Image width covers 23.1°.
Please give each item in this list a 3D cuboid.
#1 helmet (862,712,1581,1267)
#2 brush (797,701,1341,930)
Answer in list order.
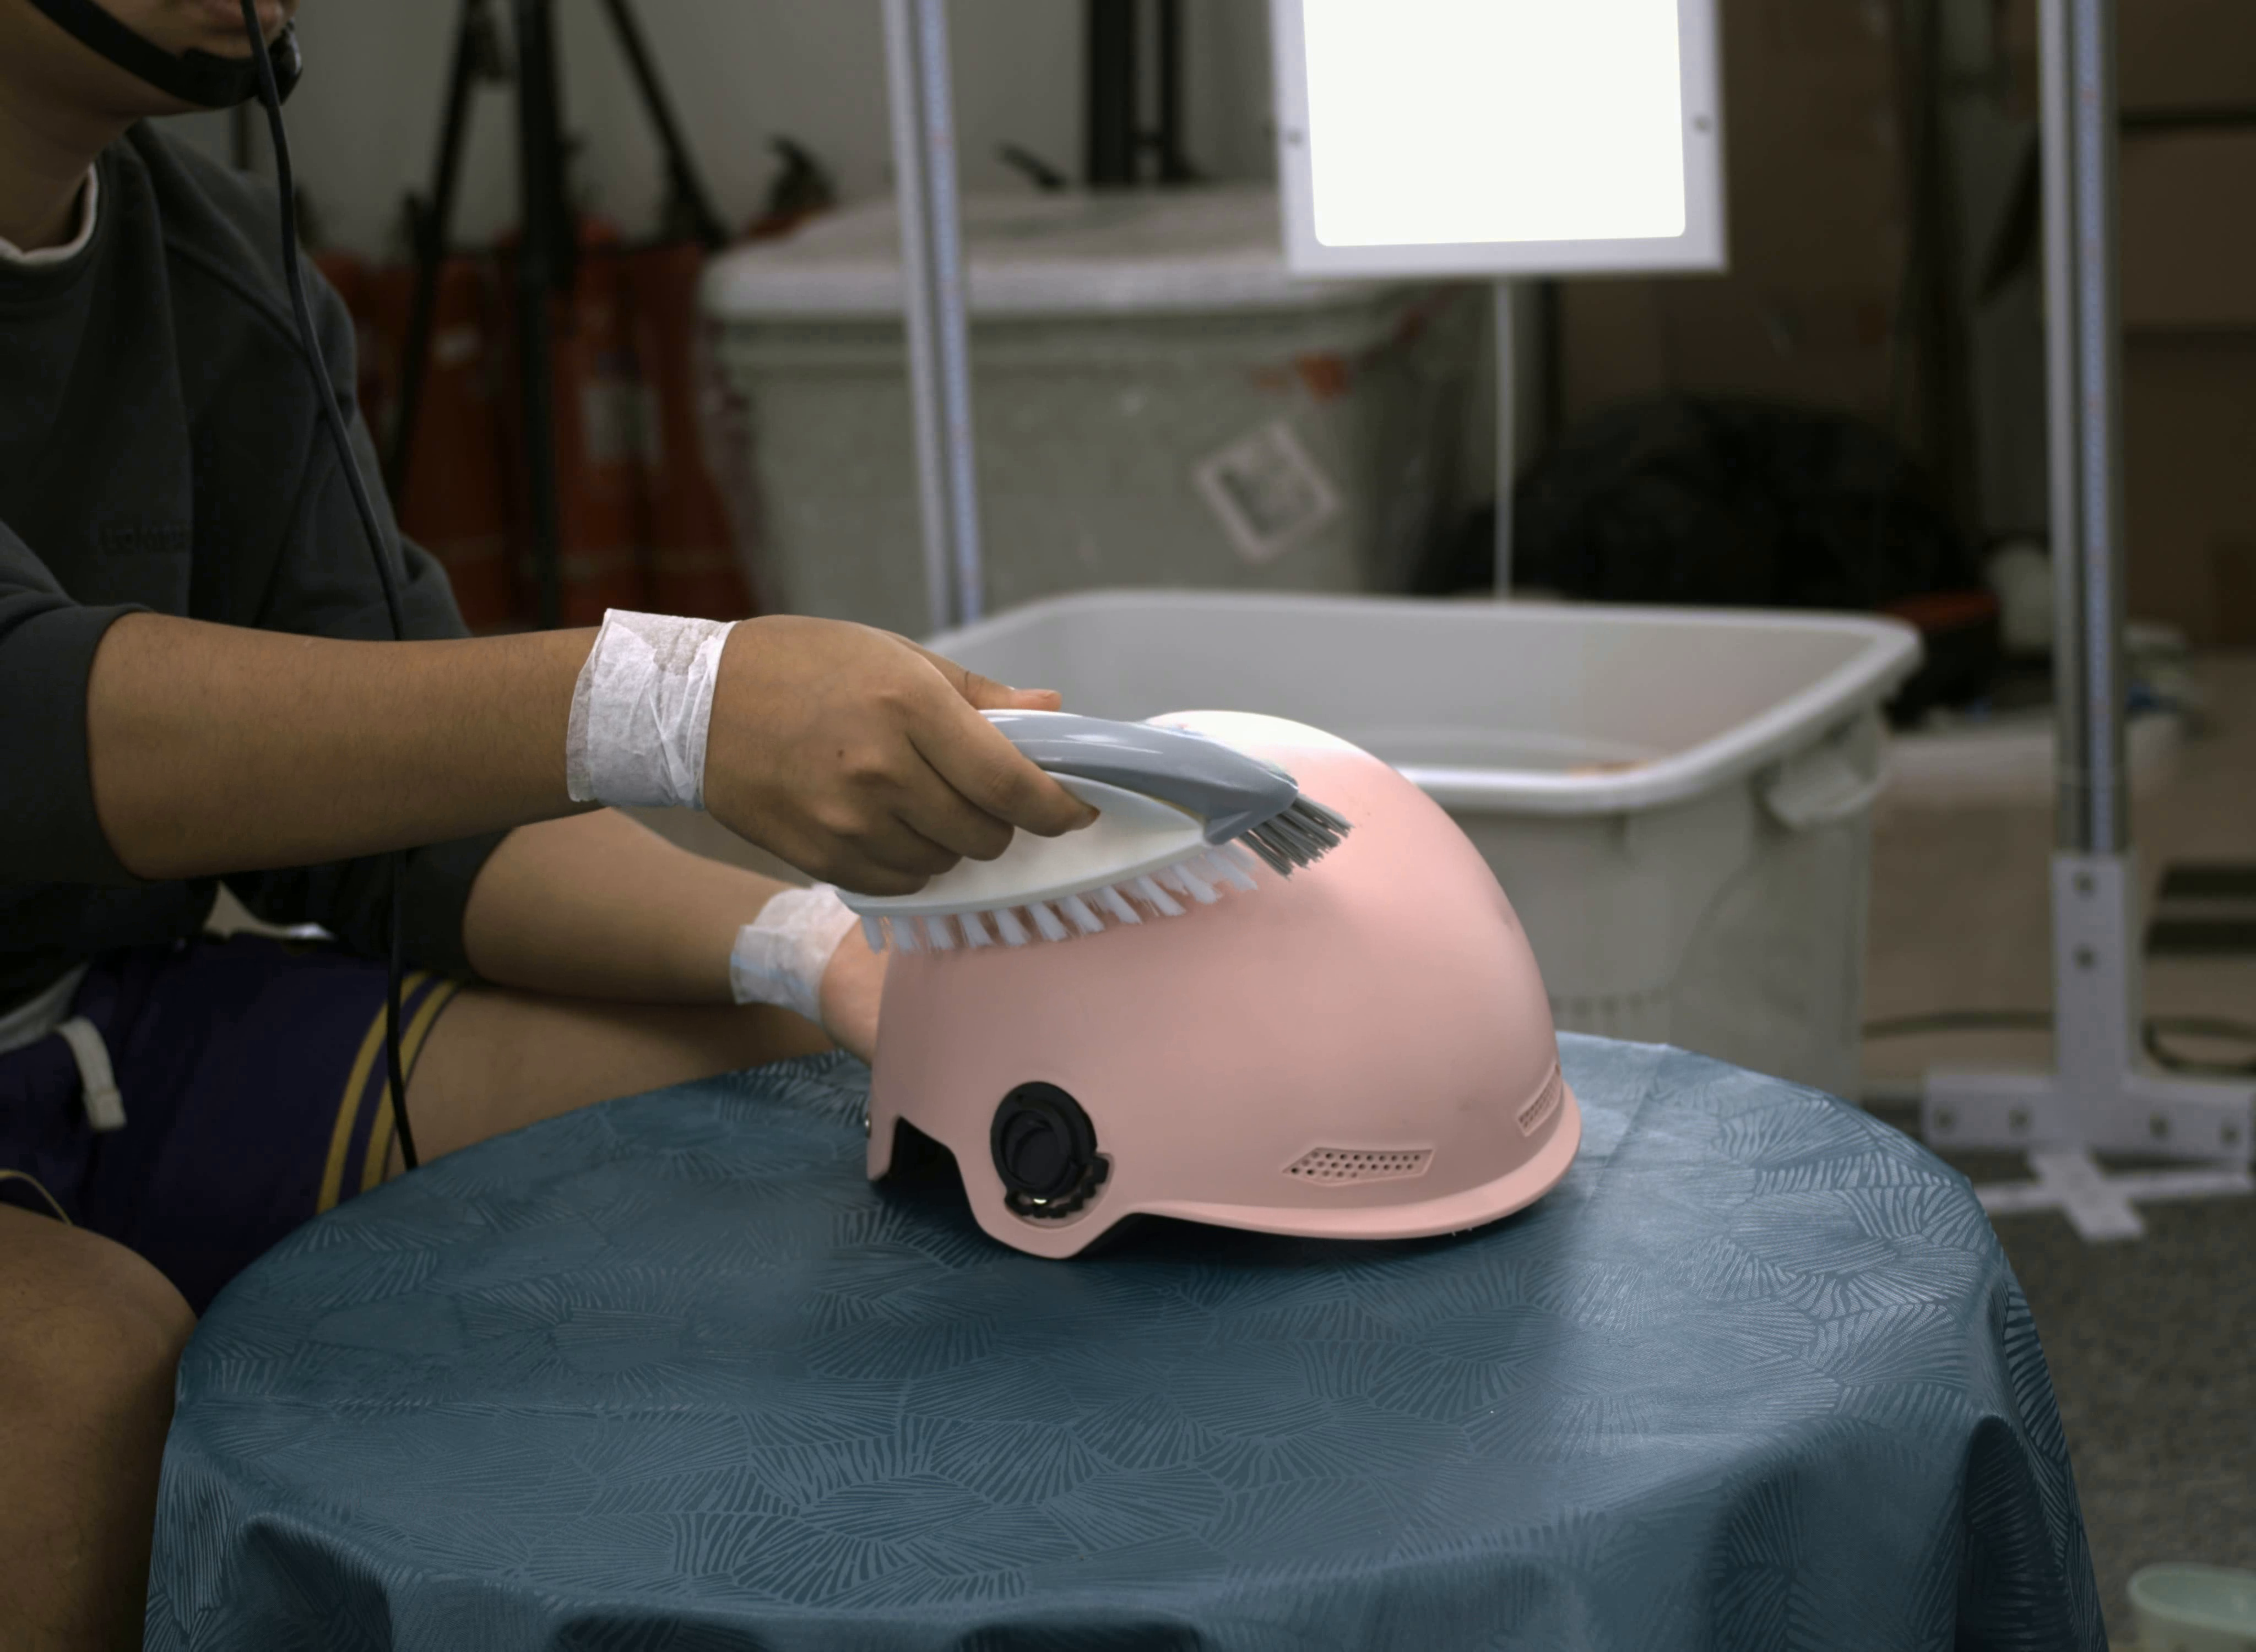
[{"bbox_3d":[0.032,0.046,1.896,0.228,0.159,0.271,-16,22,-39],"label":"helmet"},{"bbox_3d":[-0.025,-0.013,1.792,0.178,0.061,0.093,-3,-28,26],"label":"brush"}]
